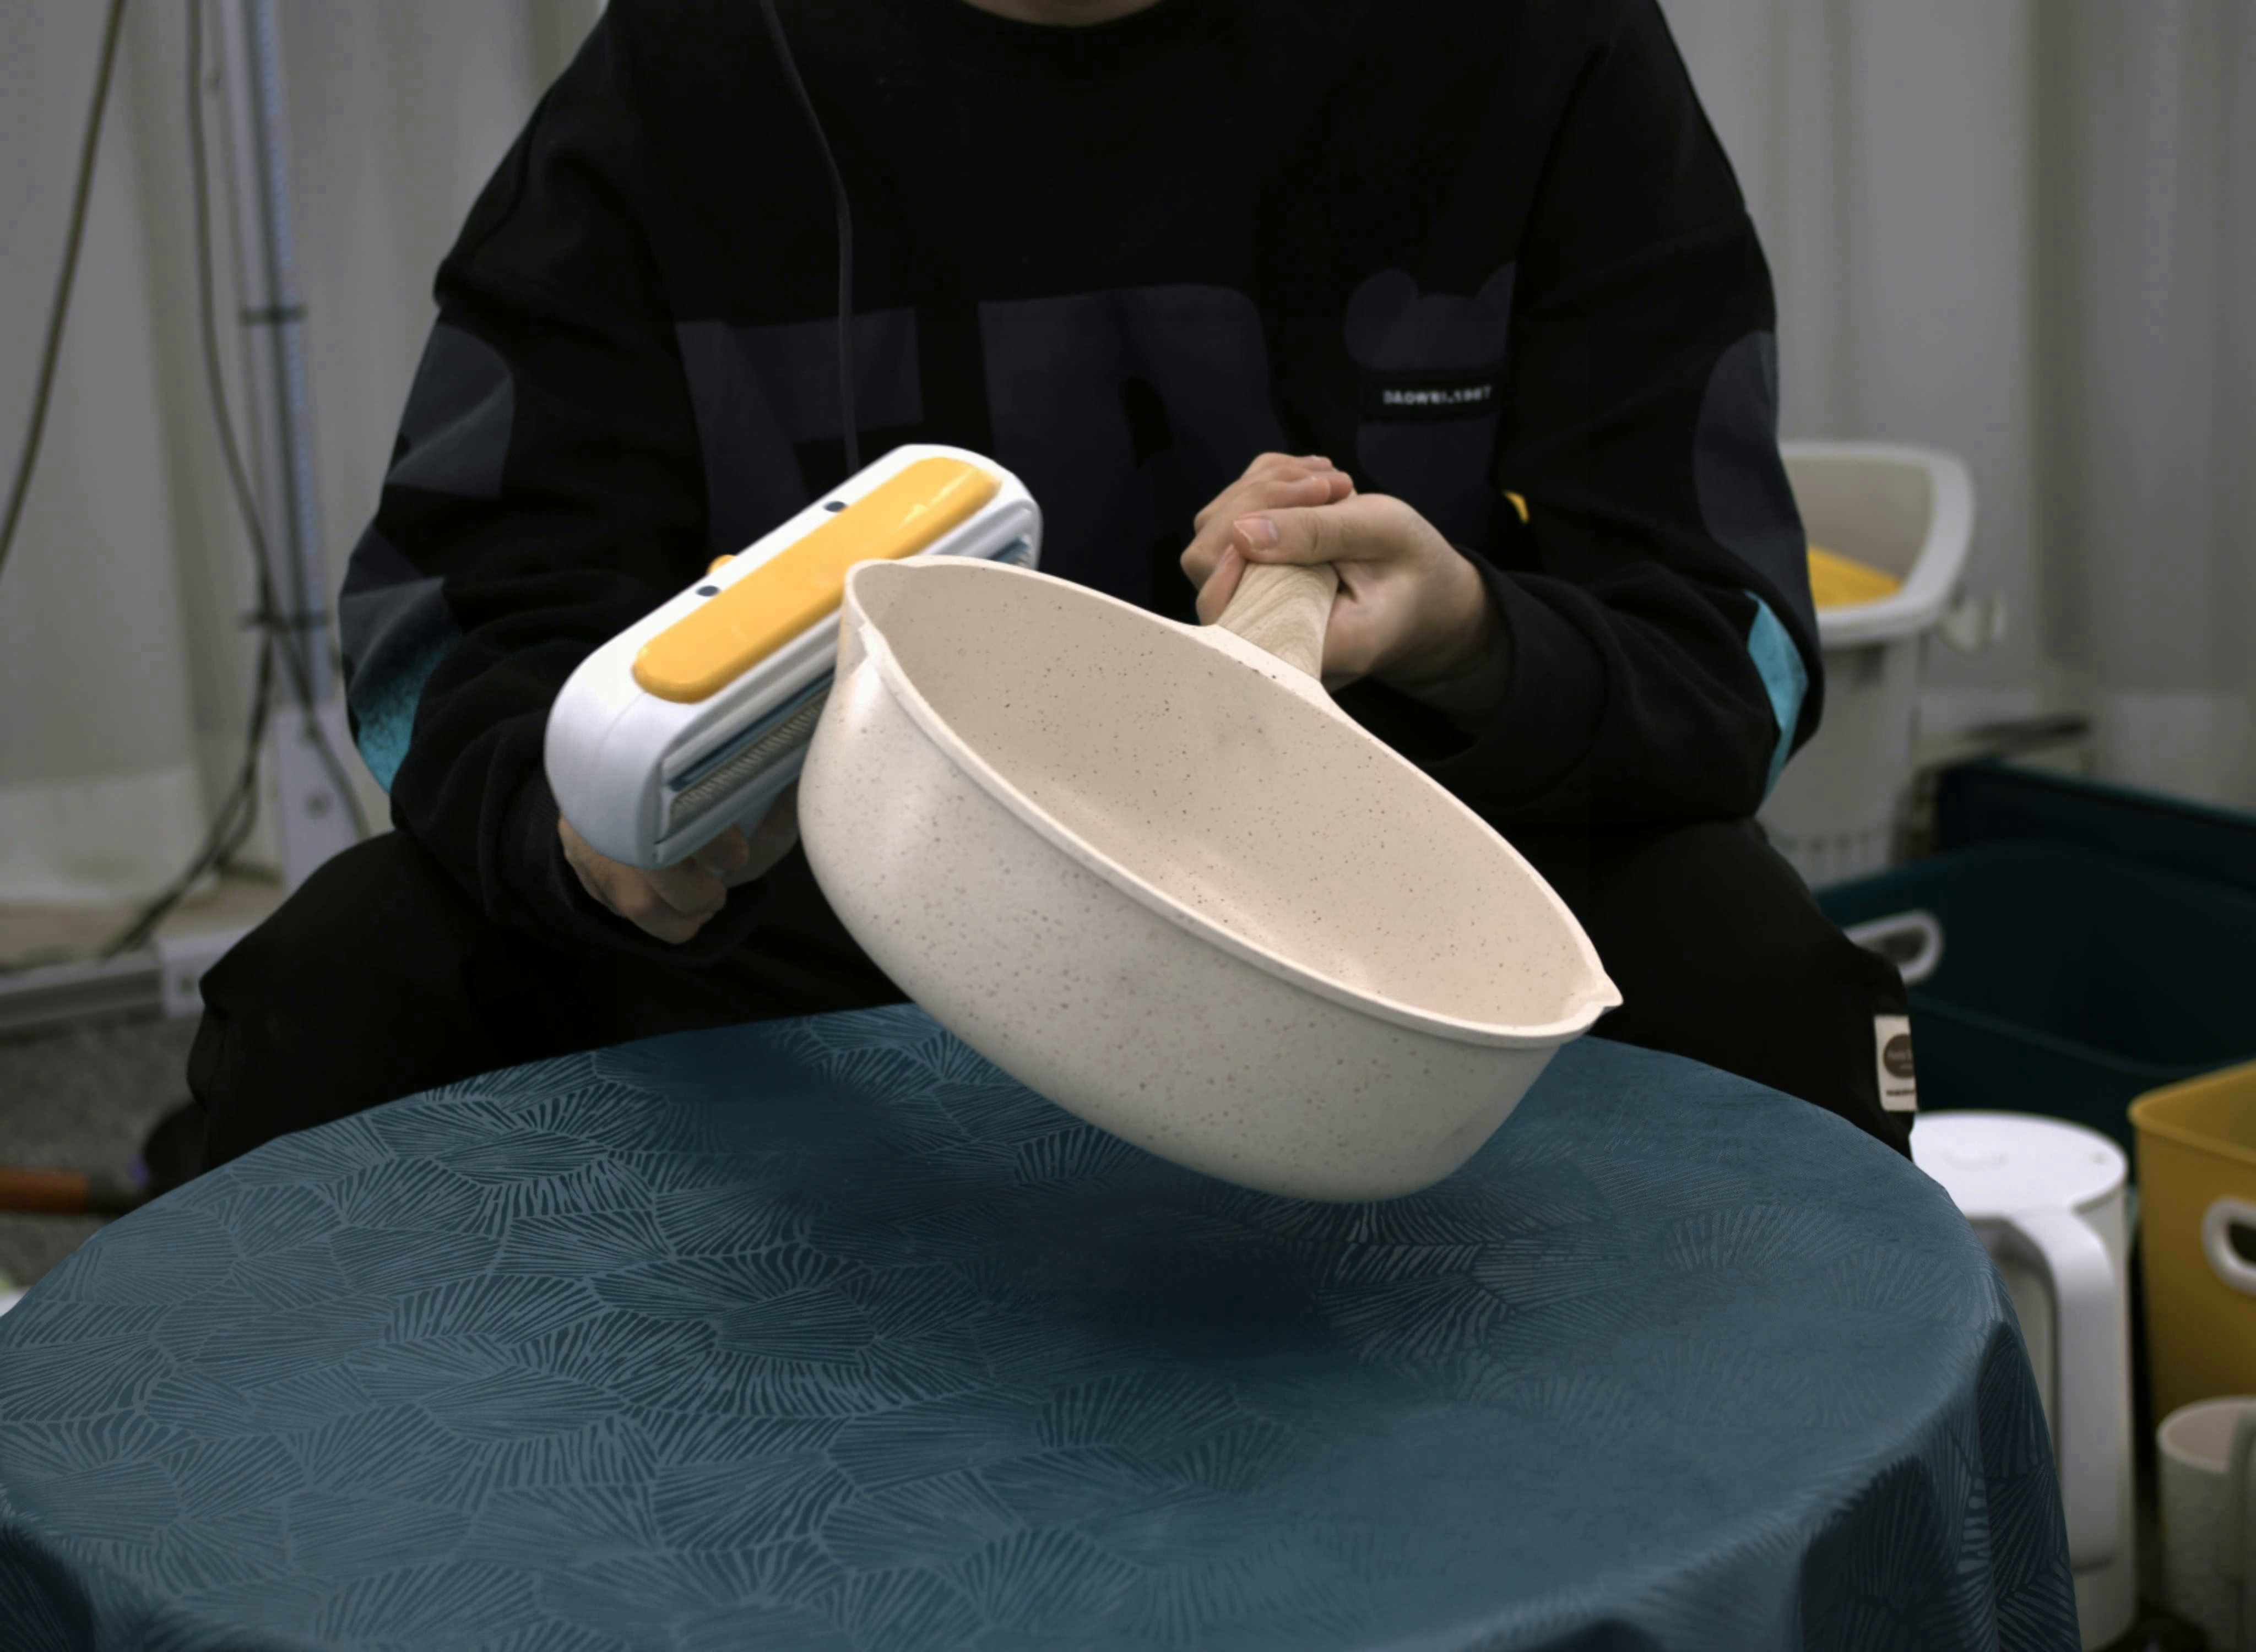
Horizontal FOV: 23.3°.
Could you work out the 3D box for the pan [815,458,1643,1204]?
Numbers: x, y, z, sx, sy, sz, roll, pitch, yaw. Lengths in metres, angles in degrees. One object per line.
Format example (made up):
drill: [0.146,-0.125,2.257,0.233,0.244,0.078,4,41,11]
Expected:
pan: [0.029,-0.013,1.712,0.262,0.101,0.438,26,18,-5]

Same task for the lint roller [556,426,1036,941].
lint roller: [-0.120,-0.024,1.747,0.074,0.190,0.194,35,47,15]
